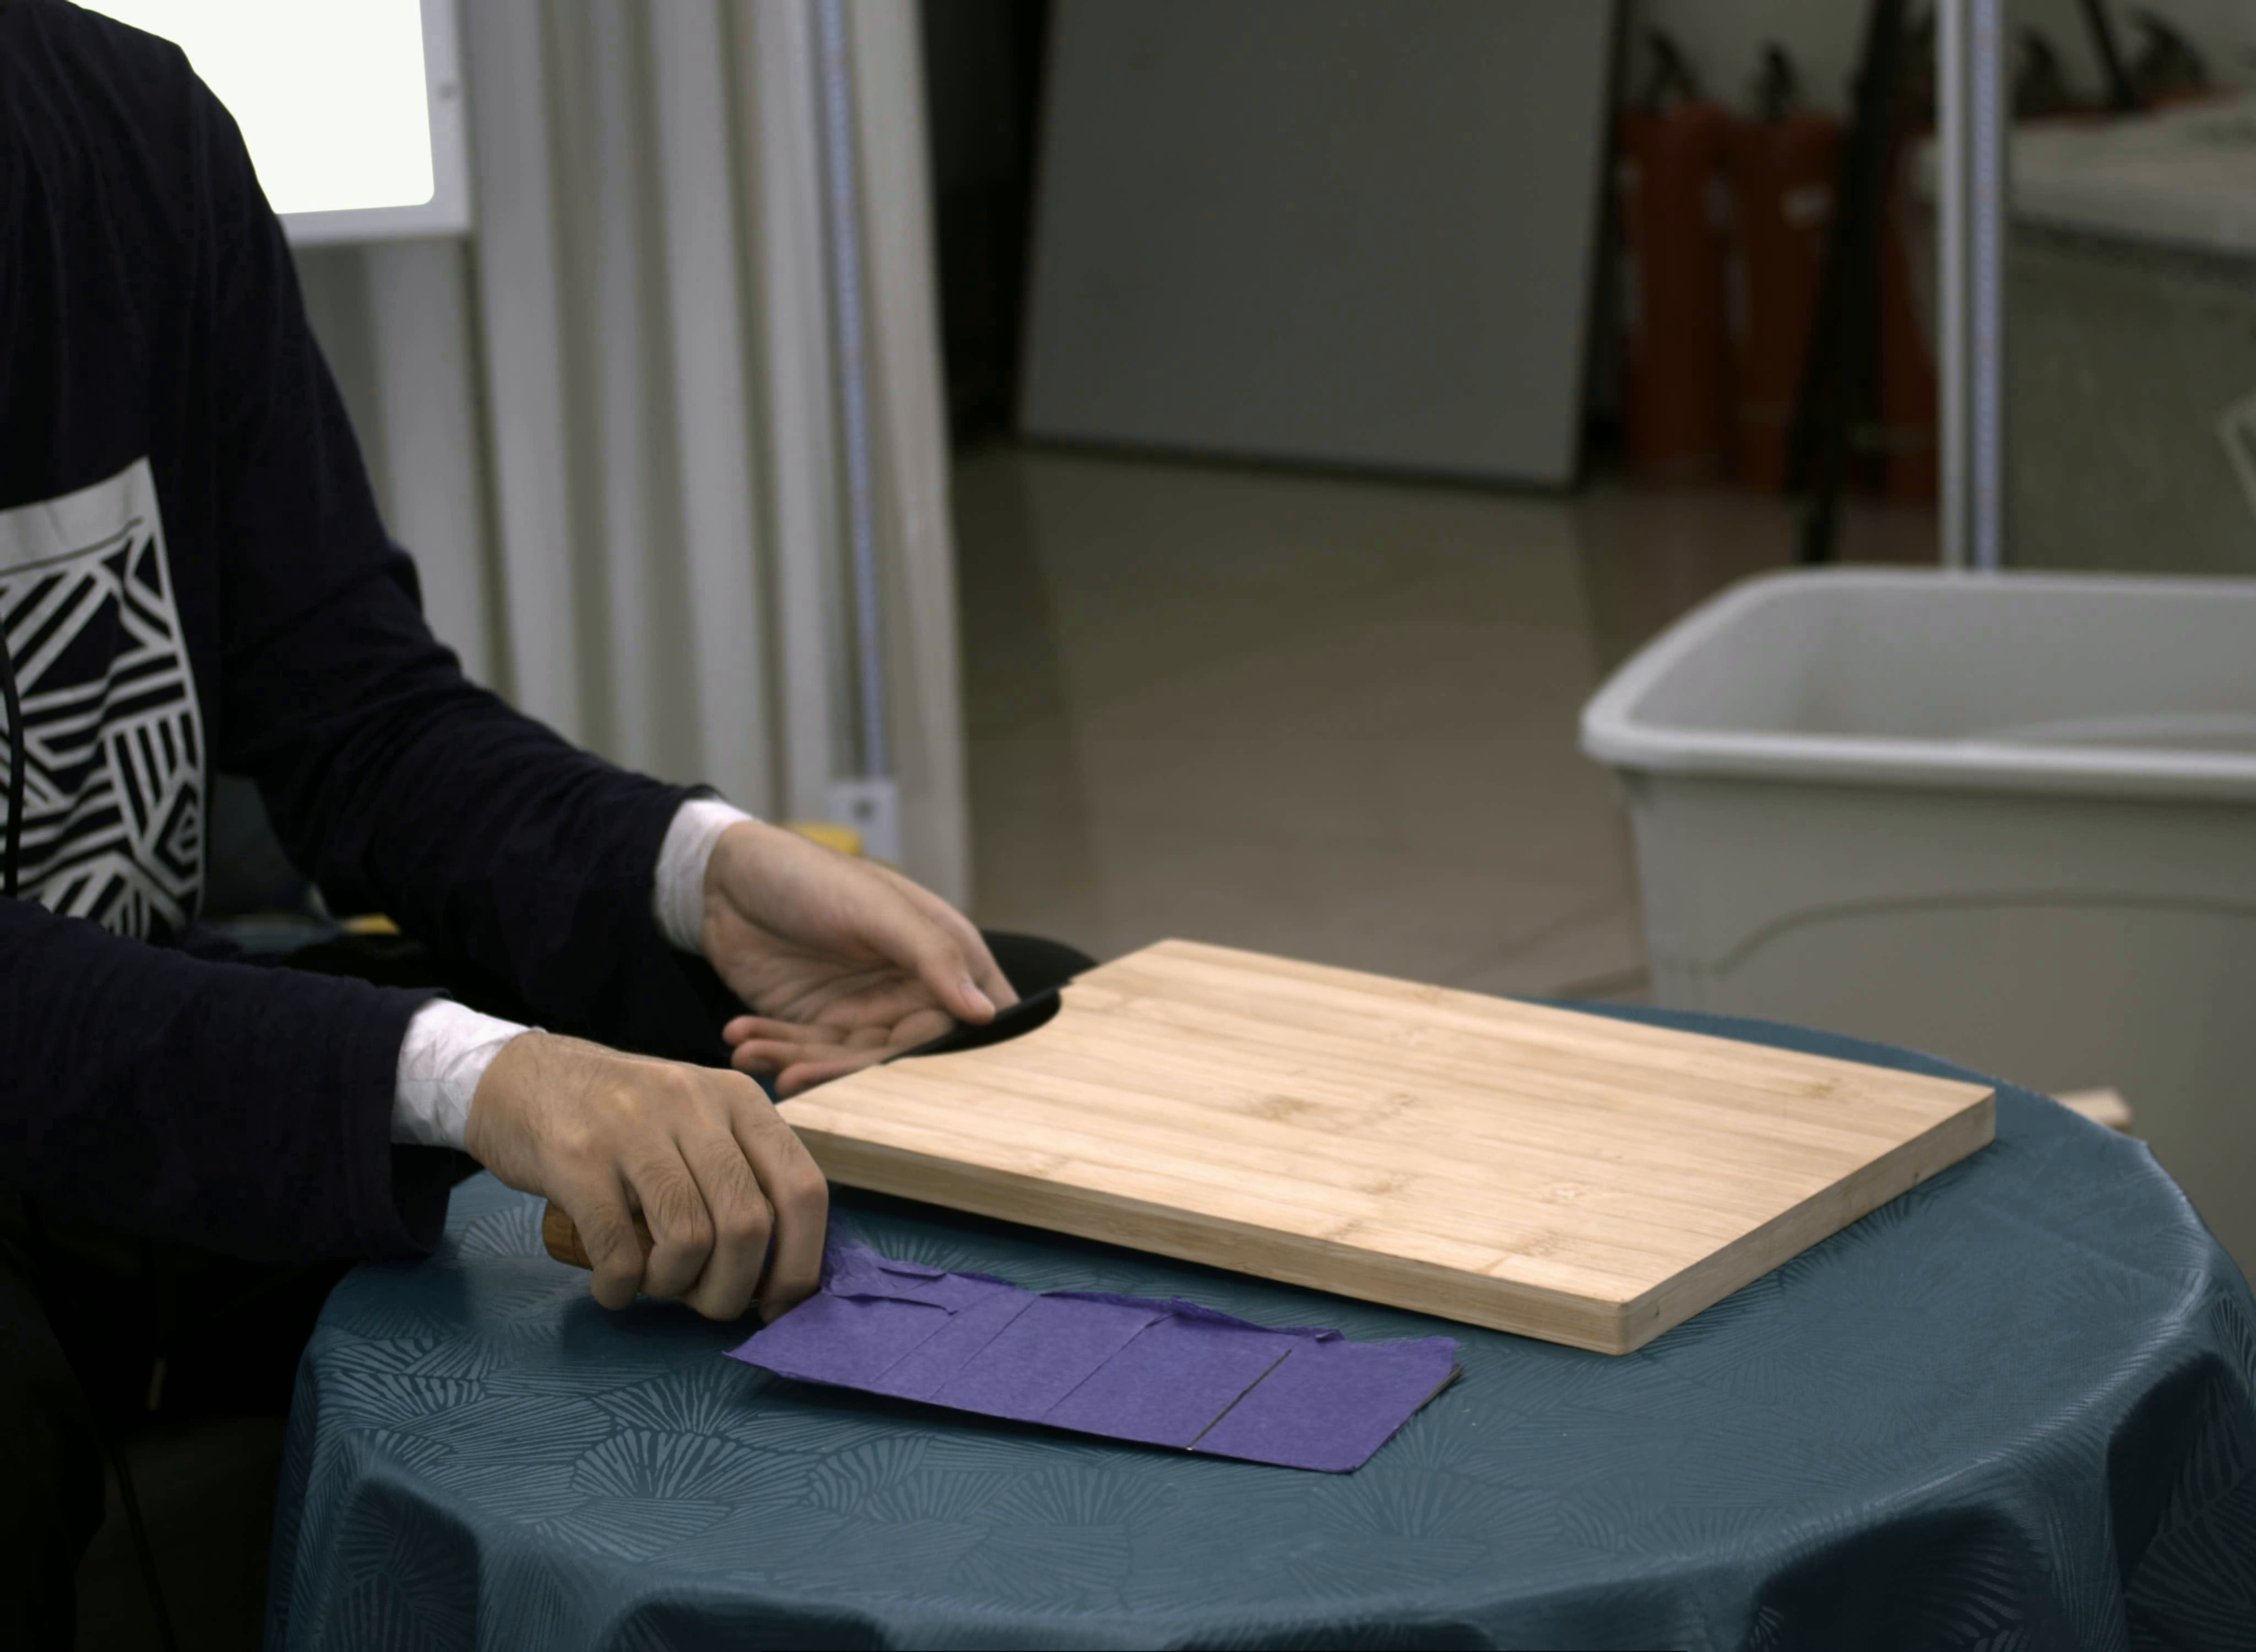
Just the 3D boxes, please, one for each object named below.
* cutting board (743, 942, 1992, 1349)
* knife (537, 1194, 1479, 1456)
[{"bbox_3d":[0.078,0.100,1.779,0.351,0.024,0.246,8,18,36],"label":"cutting board"},{"bbox_3d":[-0.055,0.148,1.614,0.316,0.032,0.102,4,16,27],"label":"knife"}]
